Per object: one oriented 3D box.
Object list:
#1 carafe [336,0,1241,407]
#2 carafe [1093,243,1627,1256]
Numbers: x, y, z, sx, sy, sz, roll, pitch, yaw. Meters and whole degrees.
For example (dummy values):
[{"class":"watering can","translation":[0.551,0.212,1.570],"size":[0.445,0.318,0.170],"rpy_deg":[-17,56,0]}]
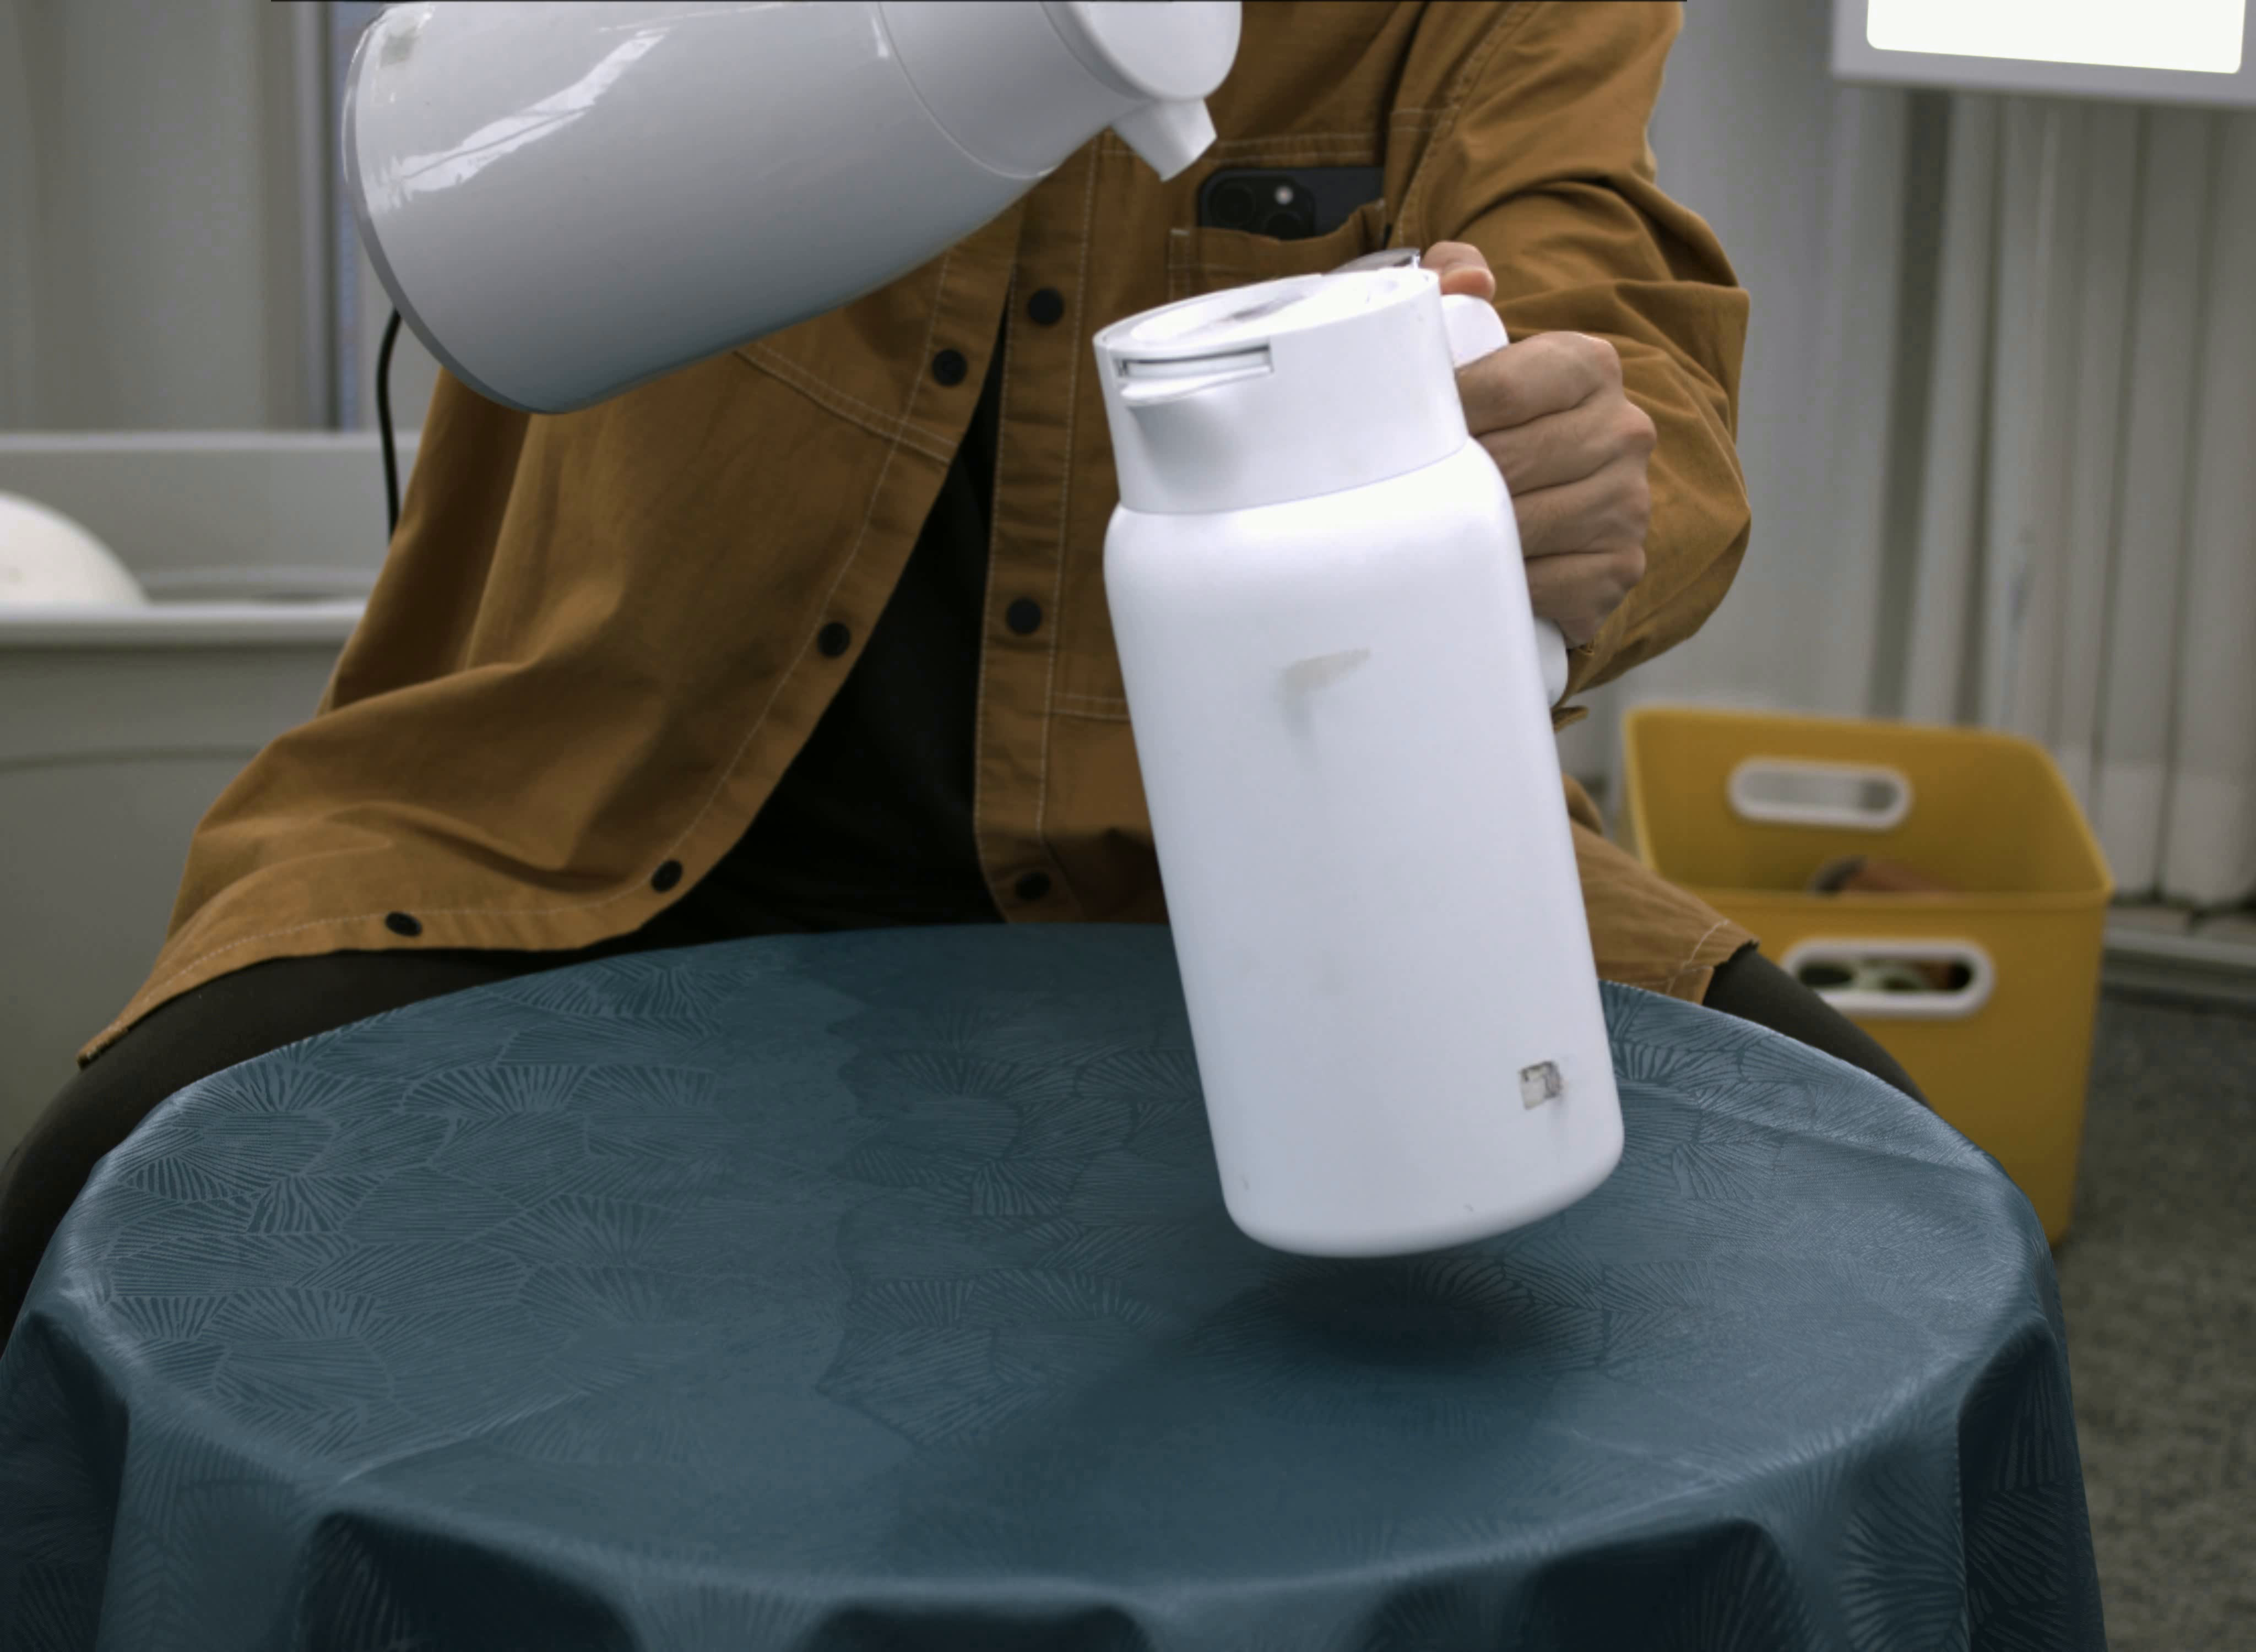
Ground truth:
[{"class":"carafe","translation":[-0.098,-0.231,1.470],"size":[0.246,0.169,0.132],"rpy_deg":[-17,23,34]},{"class":"carafe","translation":[0.071,-0.026,1.497],"size":[0.122,0.271,0.173],"rpy_deg":[-4,16,35]}]
